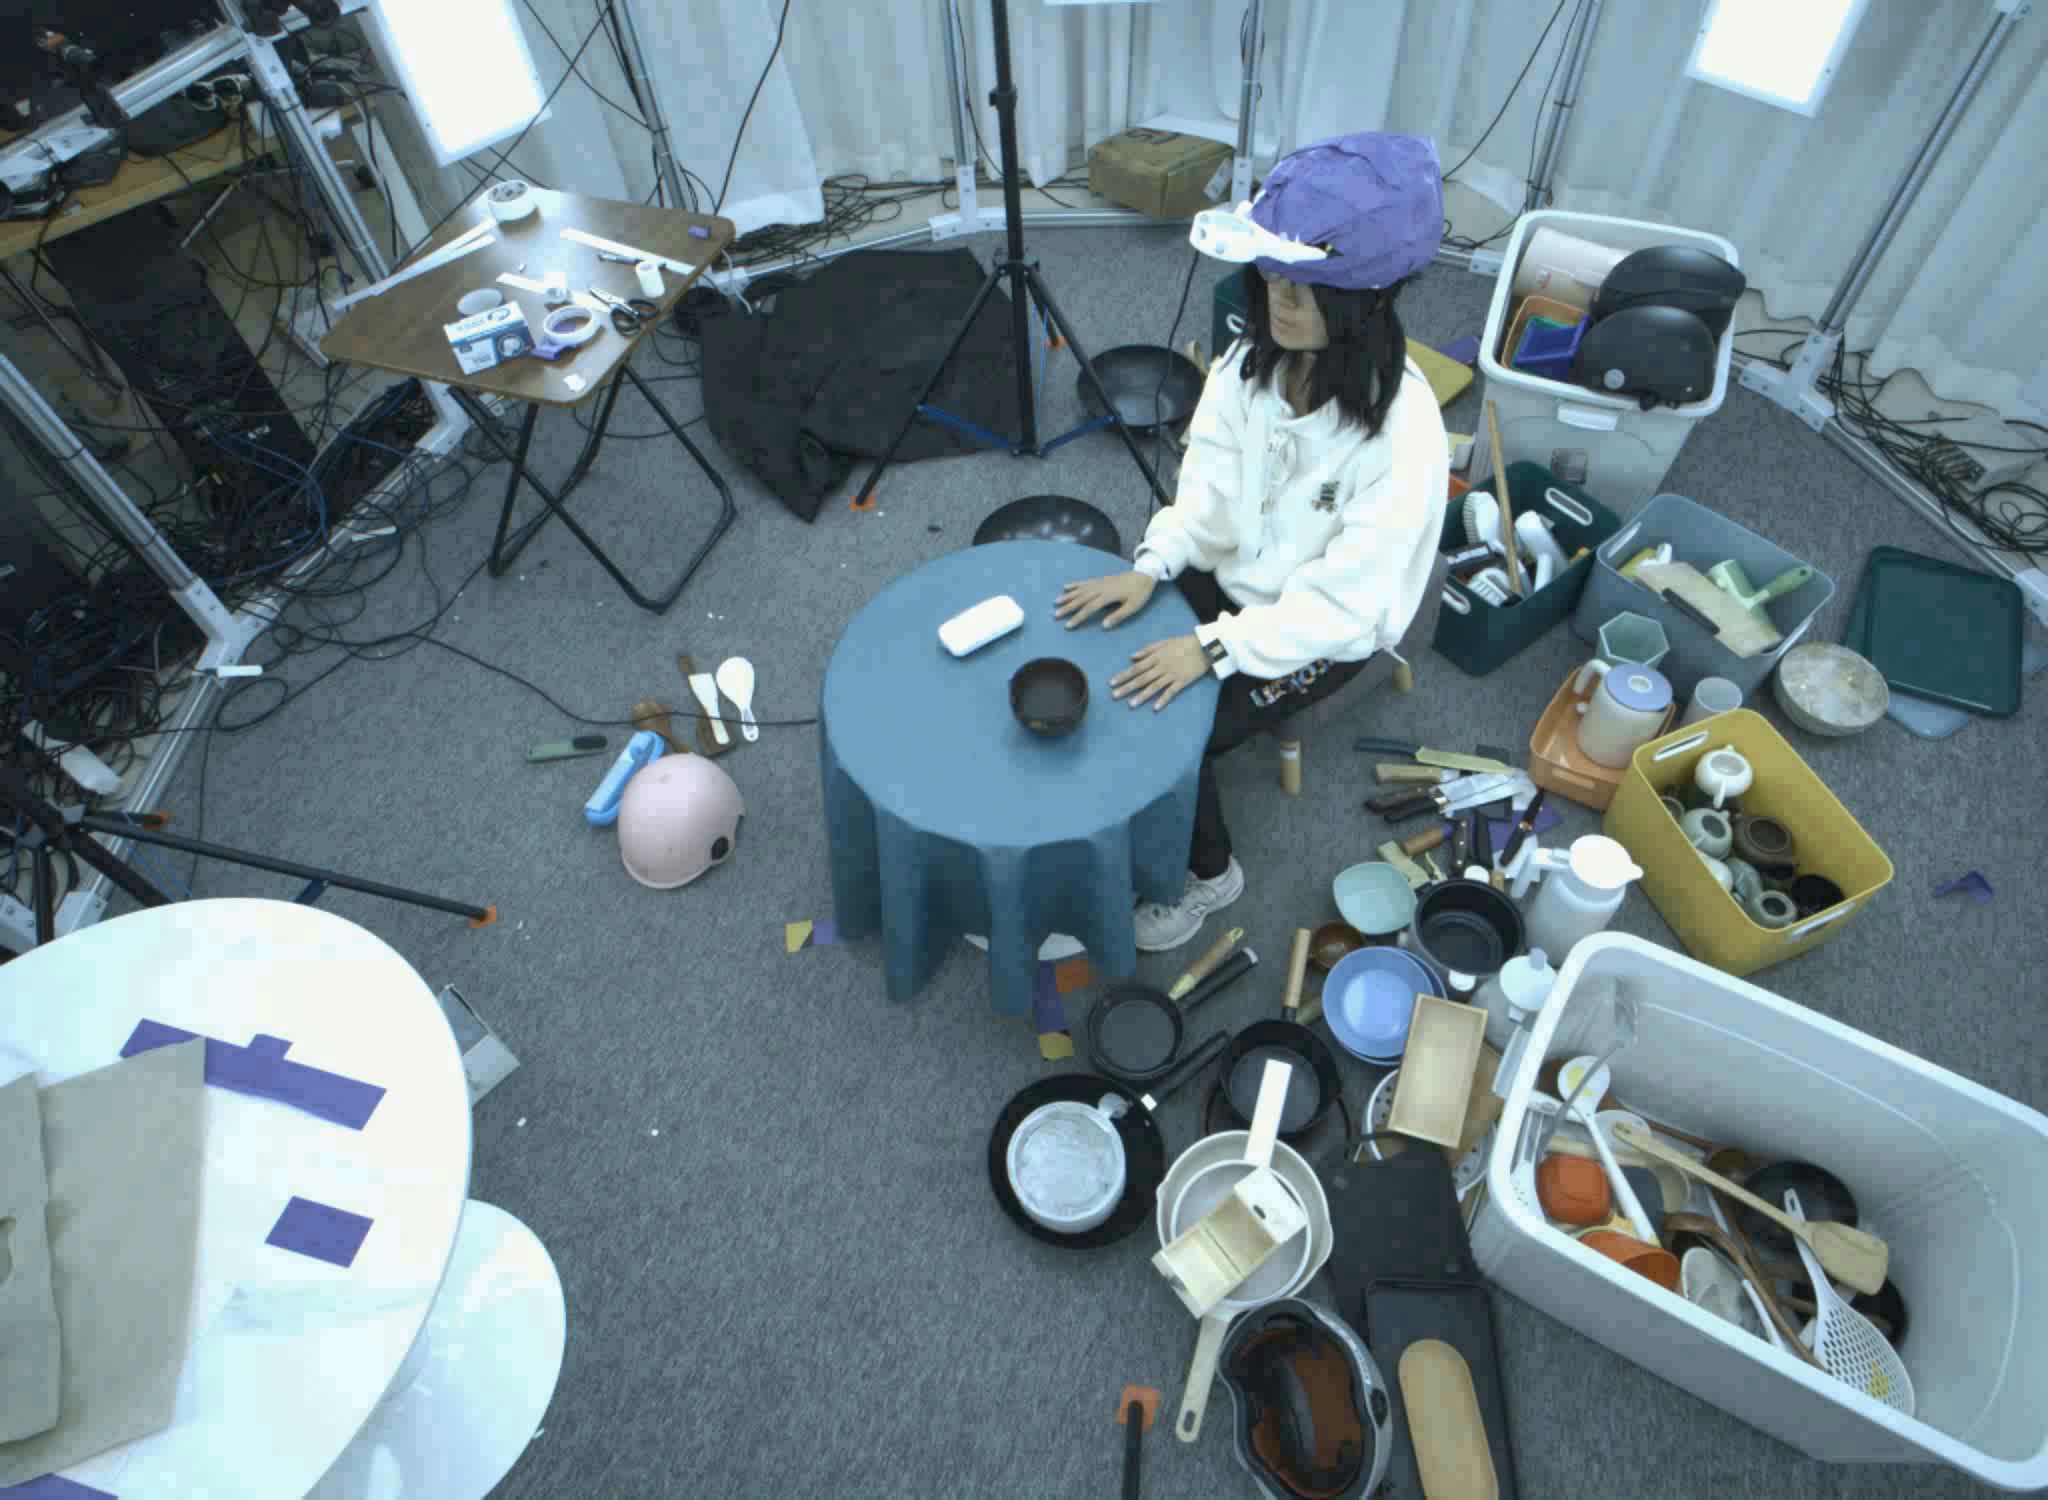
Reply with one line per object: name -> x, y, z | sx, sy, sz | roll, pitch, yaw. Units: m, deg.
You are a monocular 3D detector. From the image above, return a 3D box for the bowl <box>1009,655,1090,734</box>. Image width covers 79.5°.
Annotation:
bowl -> 0.037, -0.072, 1.793 | 0.118, 0.070, 0.117 | 0, 56, 1

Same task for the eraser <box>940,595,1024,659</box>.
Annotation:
eraser -> -0.064, -0.191, 1.907 | 0.132, 0.035, 0.062 | -30, 59, -17
